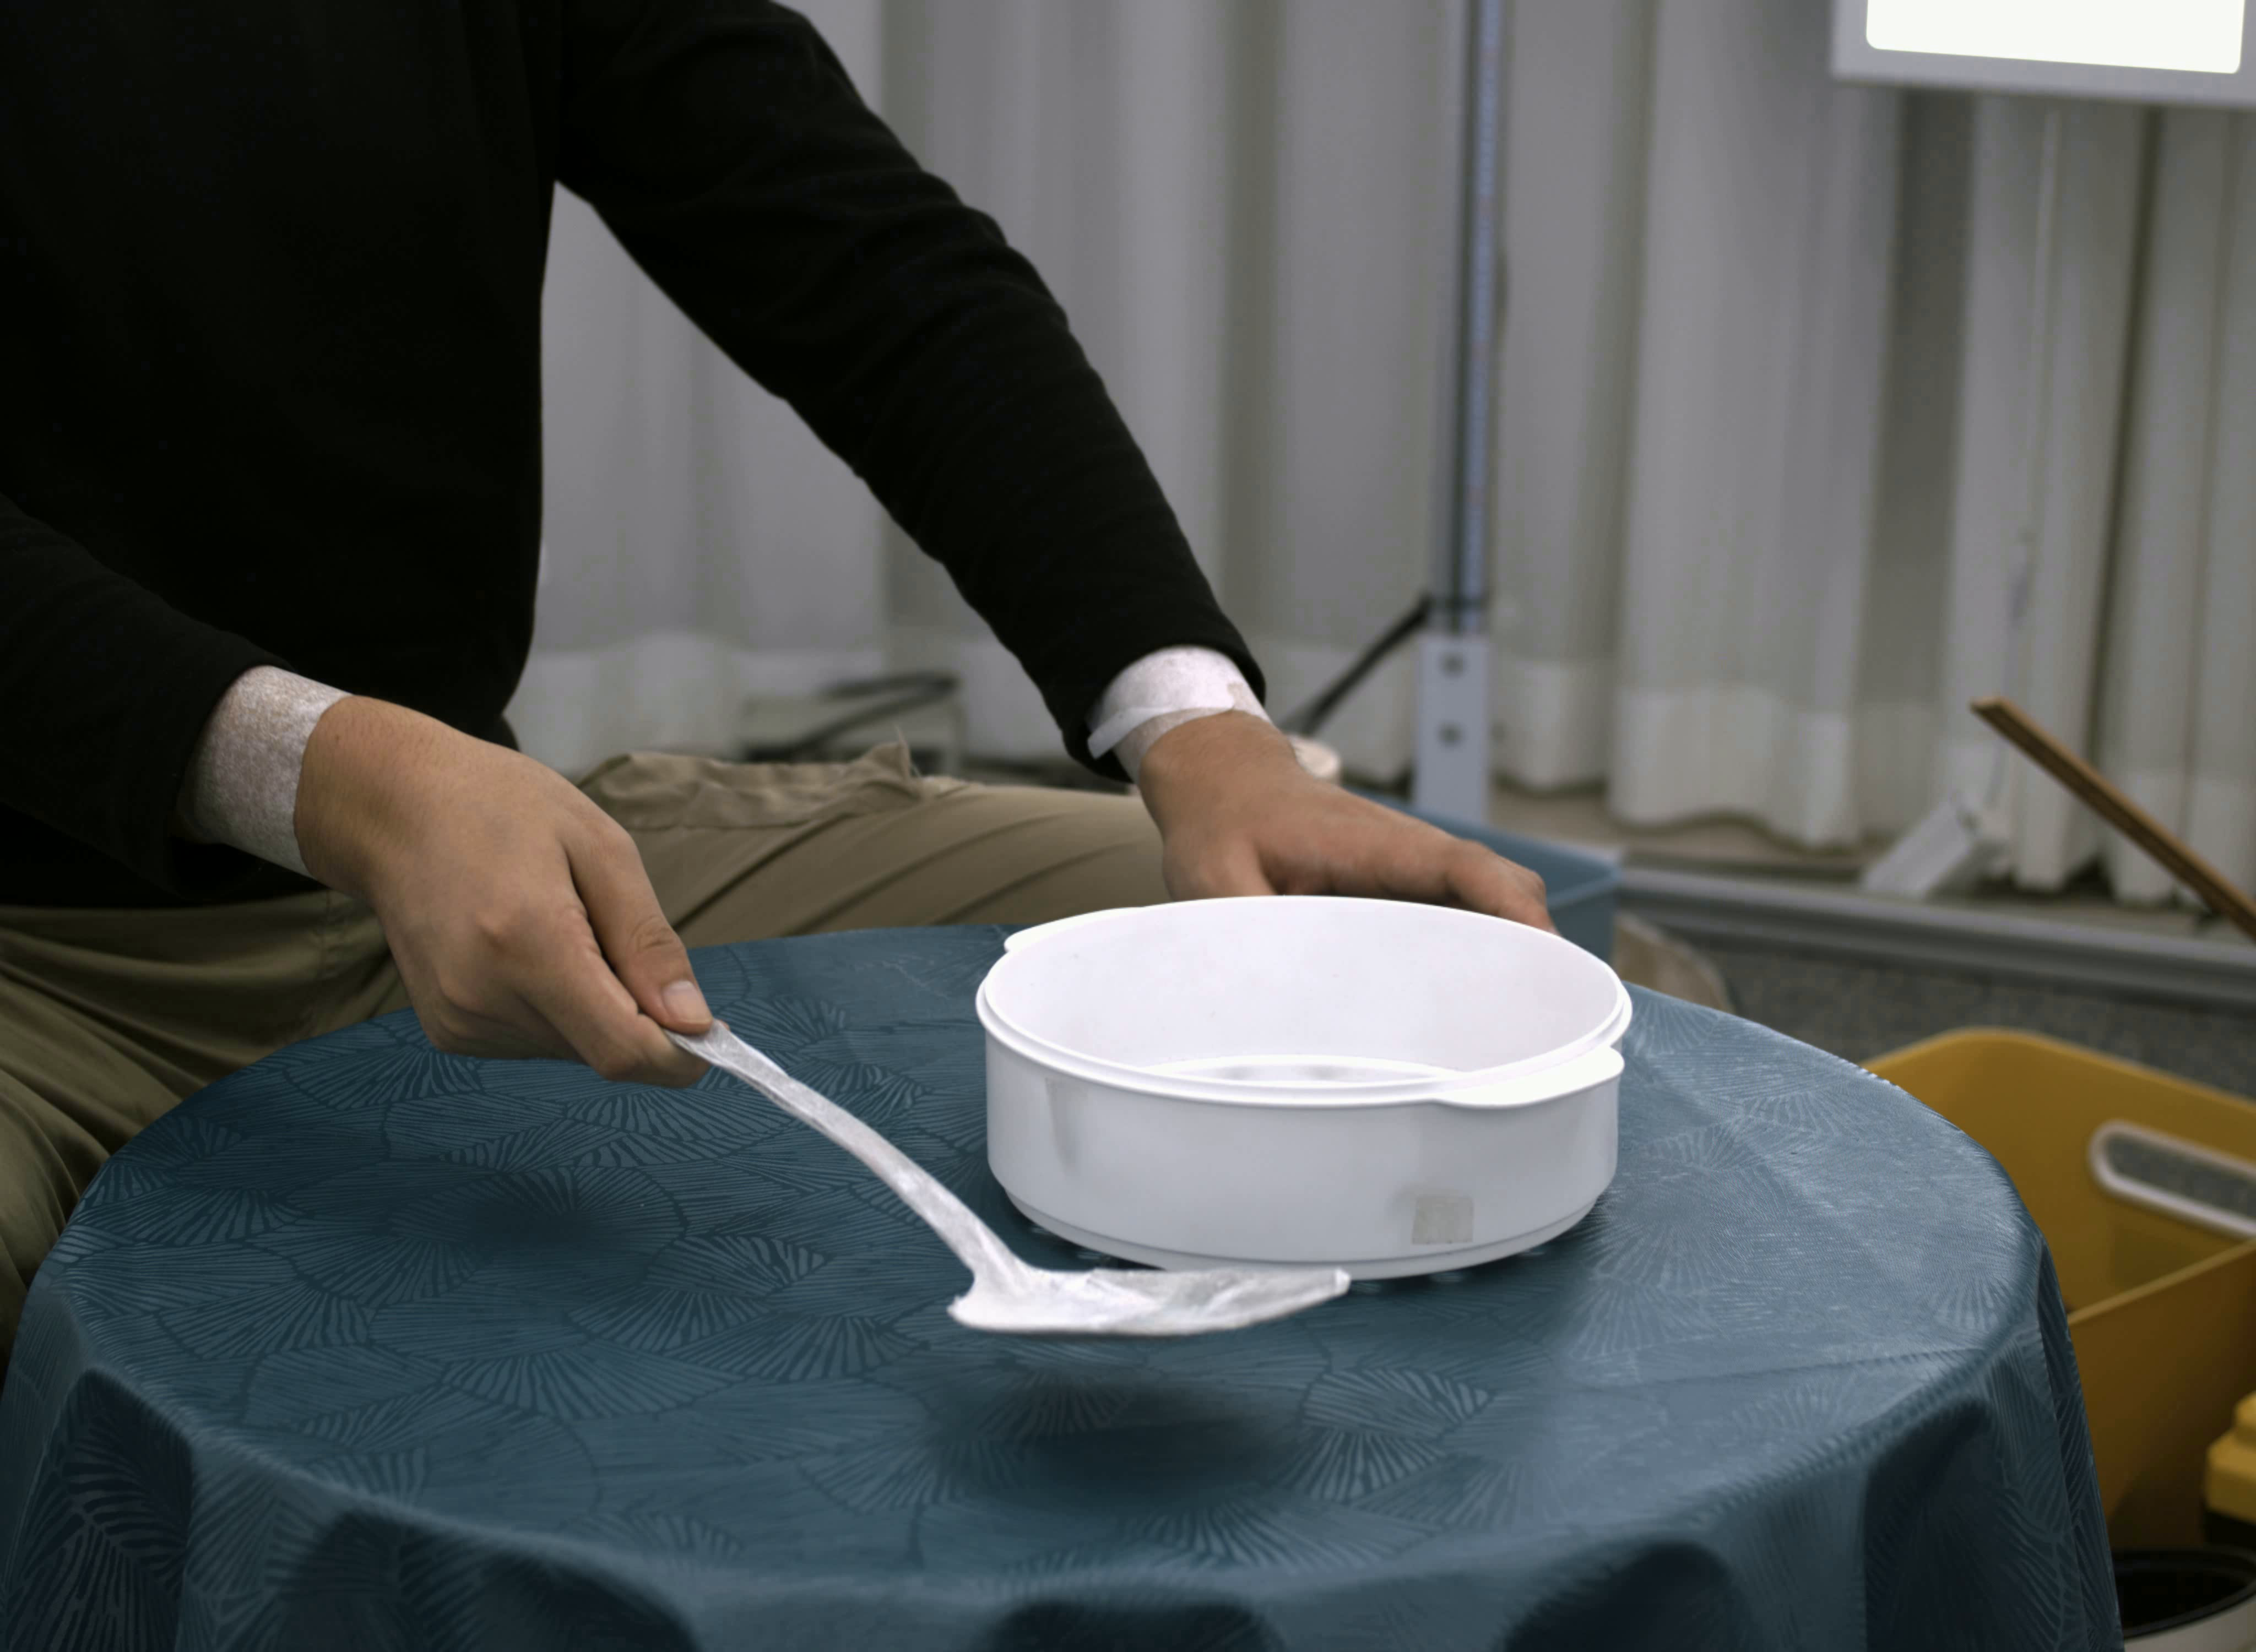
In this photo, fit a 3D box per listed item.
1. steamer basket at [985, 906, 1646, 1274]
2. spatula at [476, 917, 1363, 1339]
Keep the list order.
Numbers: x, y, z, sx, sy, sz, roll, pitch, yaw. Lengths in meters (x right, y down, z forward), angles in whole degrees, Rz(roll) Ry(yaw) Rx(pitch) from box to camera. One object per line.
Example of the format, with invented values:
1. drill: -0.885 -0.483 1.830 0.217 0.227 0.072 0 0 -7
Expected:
1. steamer basket: 0.057 0.080 1.607 0.203 0.070 0.227 -12 18 -40
2. spatula: -0.083 0.078 1.506 0.099 0.045 0.360 -10 29 -42
